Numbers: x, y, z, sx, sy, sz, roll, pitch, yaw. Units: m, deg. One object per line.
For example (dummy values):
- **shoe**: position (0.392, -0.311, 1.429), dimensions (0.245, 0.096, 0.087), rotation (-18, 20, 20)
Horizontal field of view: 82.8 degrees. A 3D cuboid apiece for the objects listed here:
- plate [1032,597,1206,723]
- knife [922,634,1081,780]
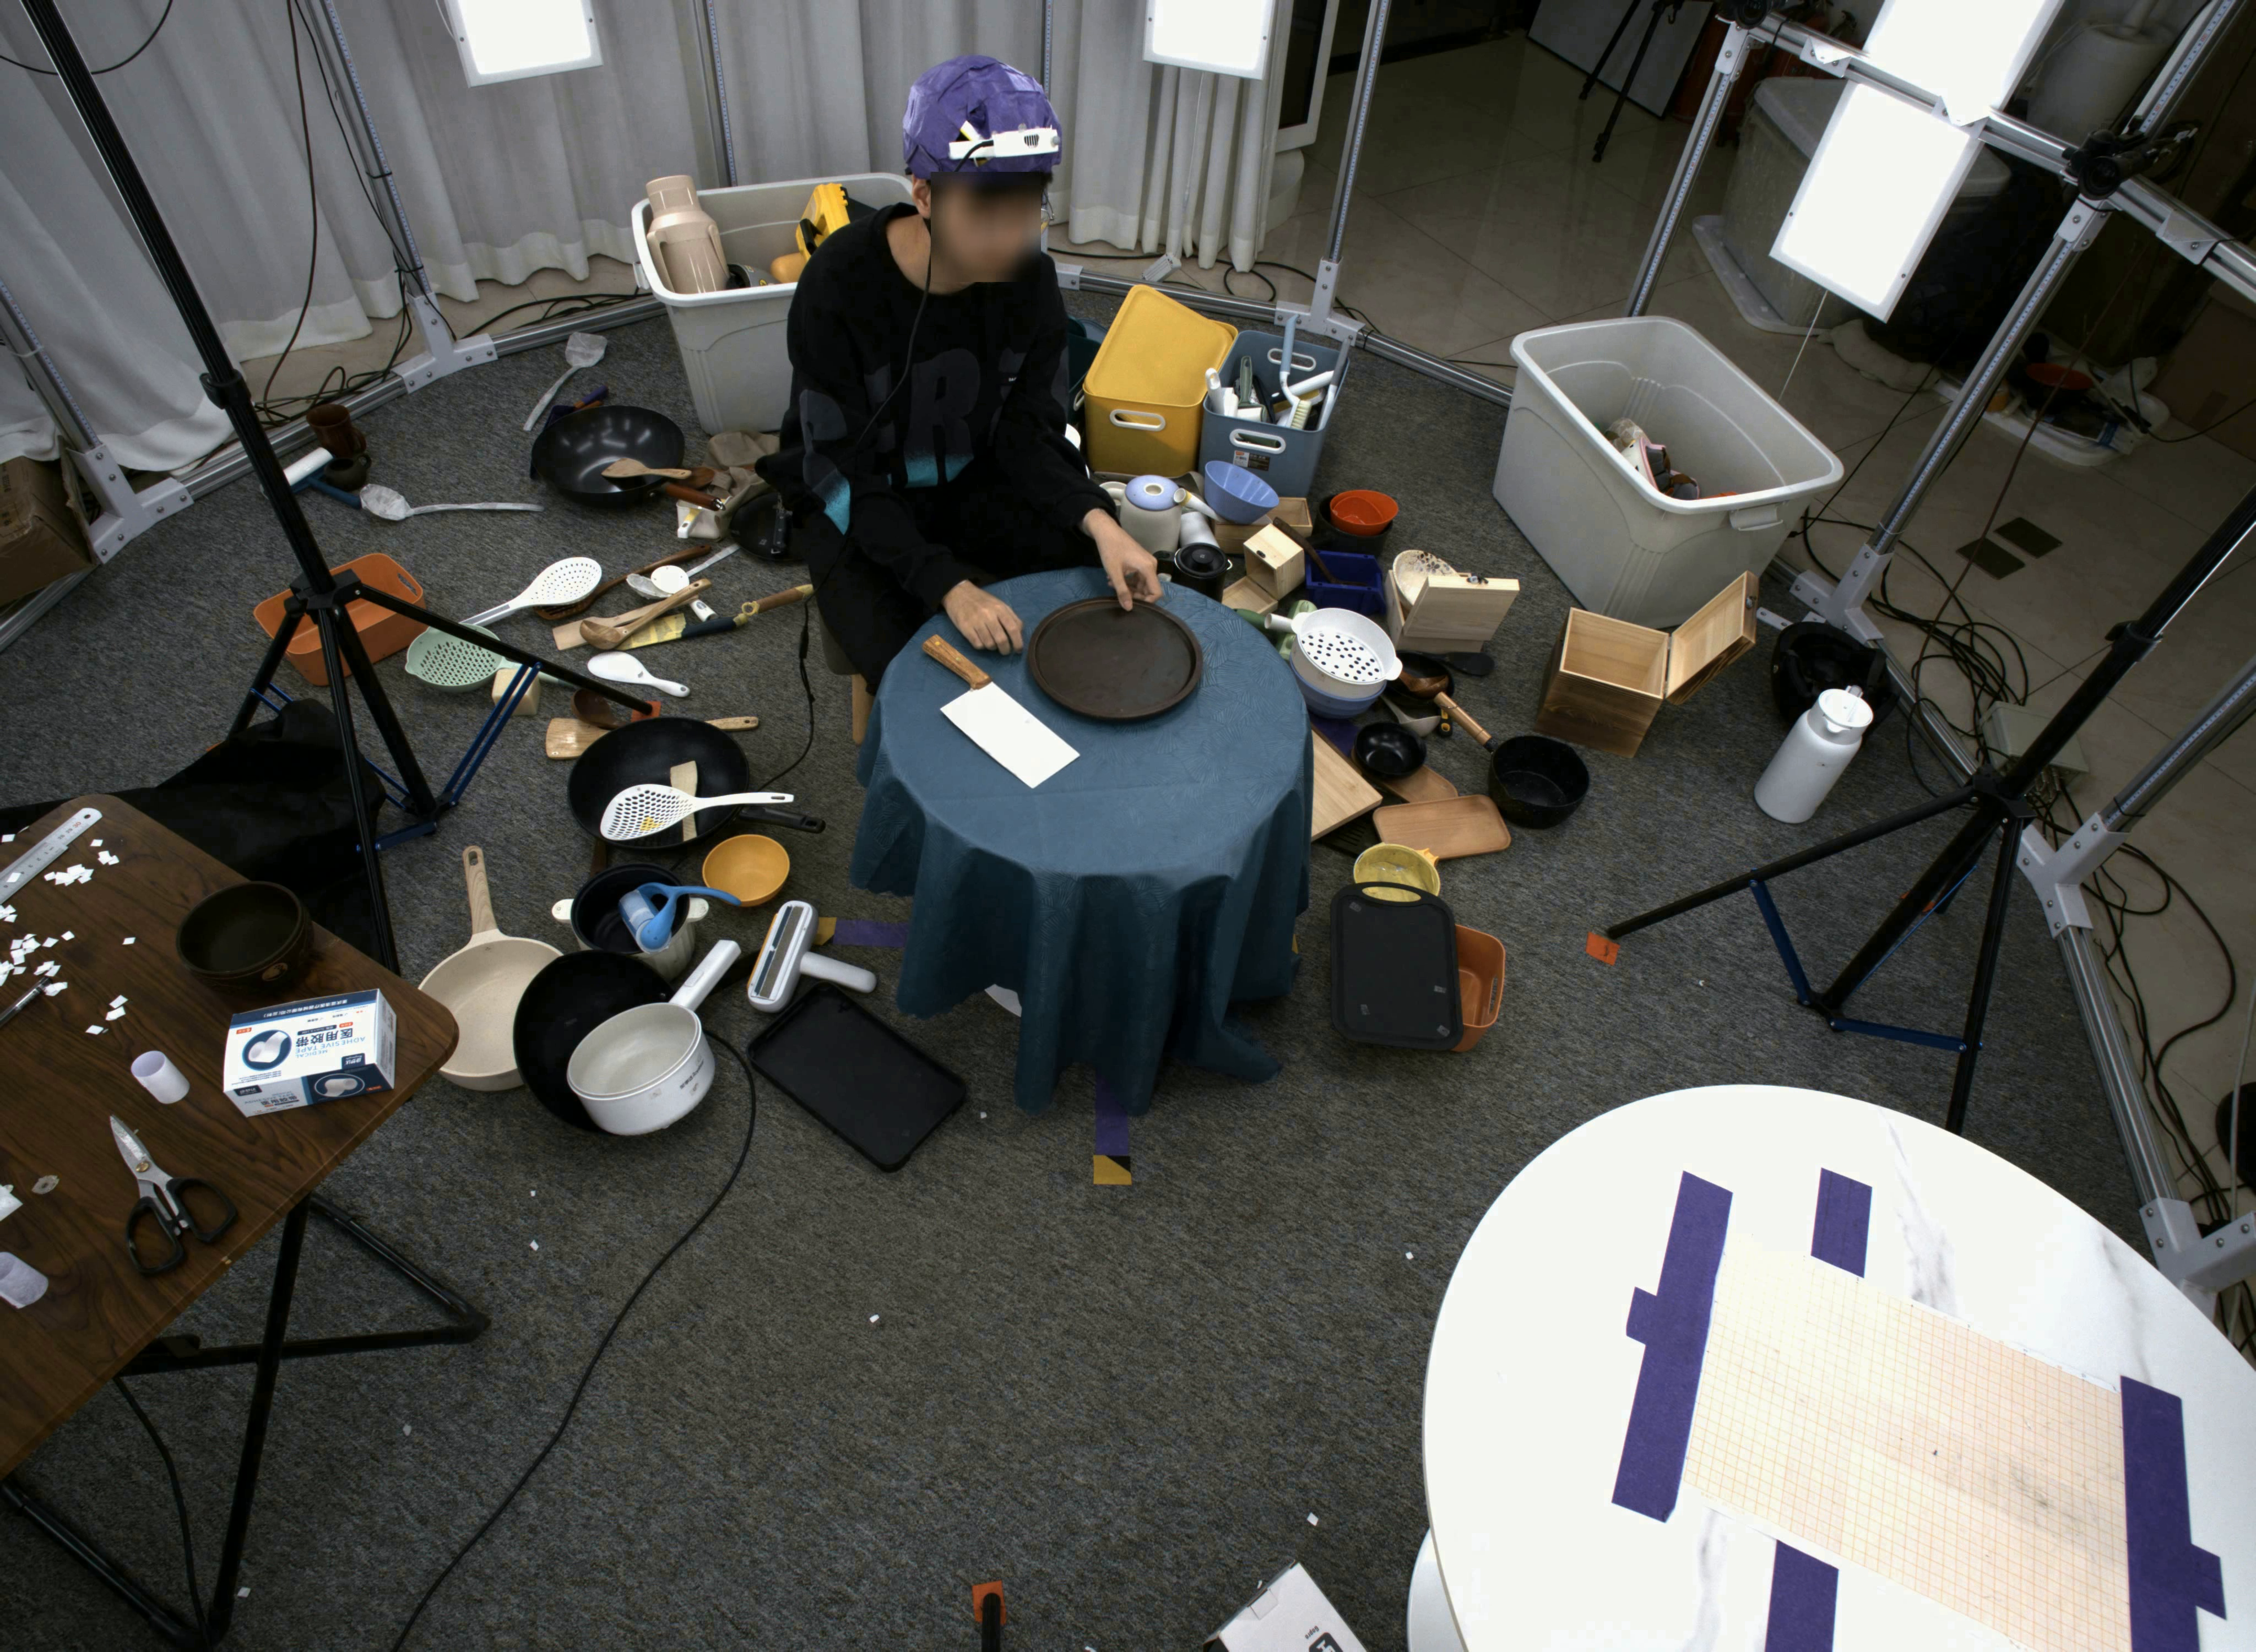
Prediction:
- **plate**: position (-0.013, -0.242, 1.862), dimensions (0.254, 0.028, 0.261), rotation (3, 48, -3)
- **knife**: position (-0.198, -0.164, 1.788), dimensions (0.094, 0.020, 0.310), rotation (-36, 62, -28)
